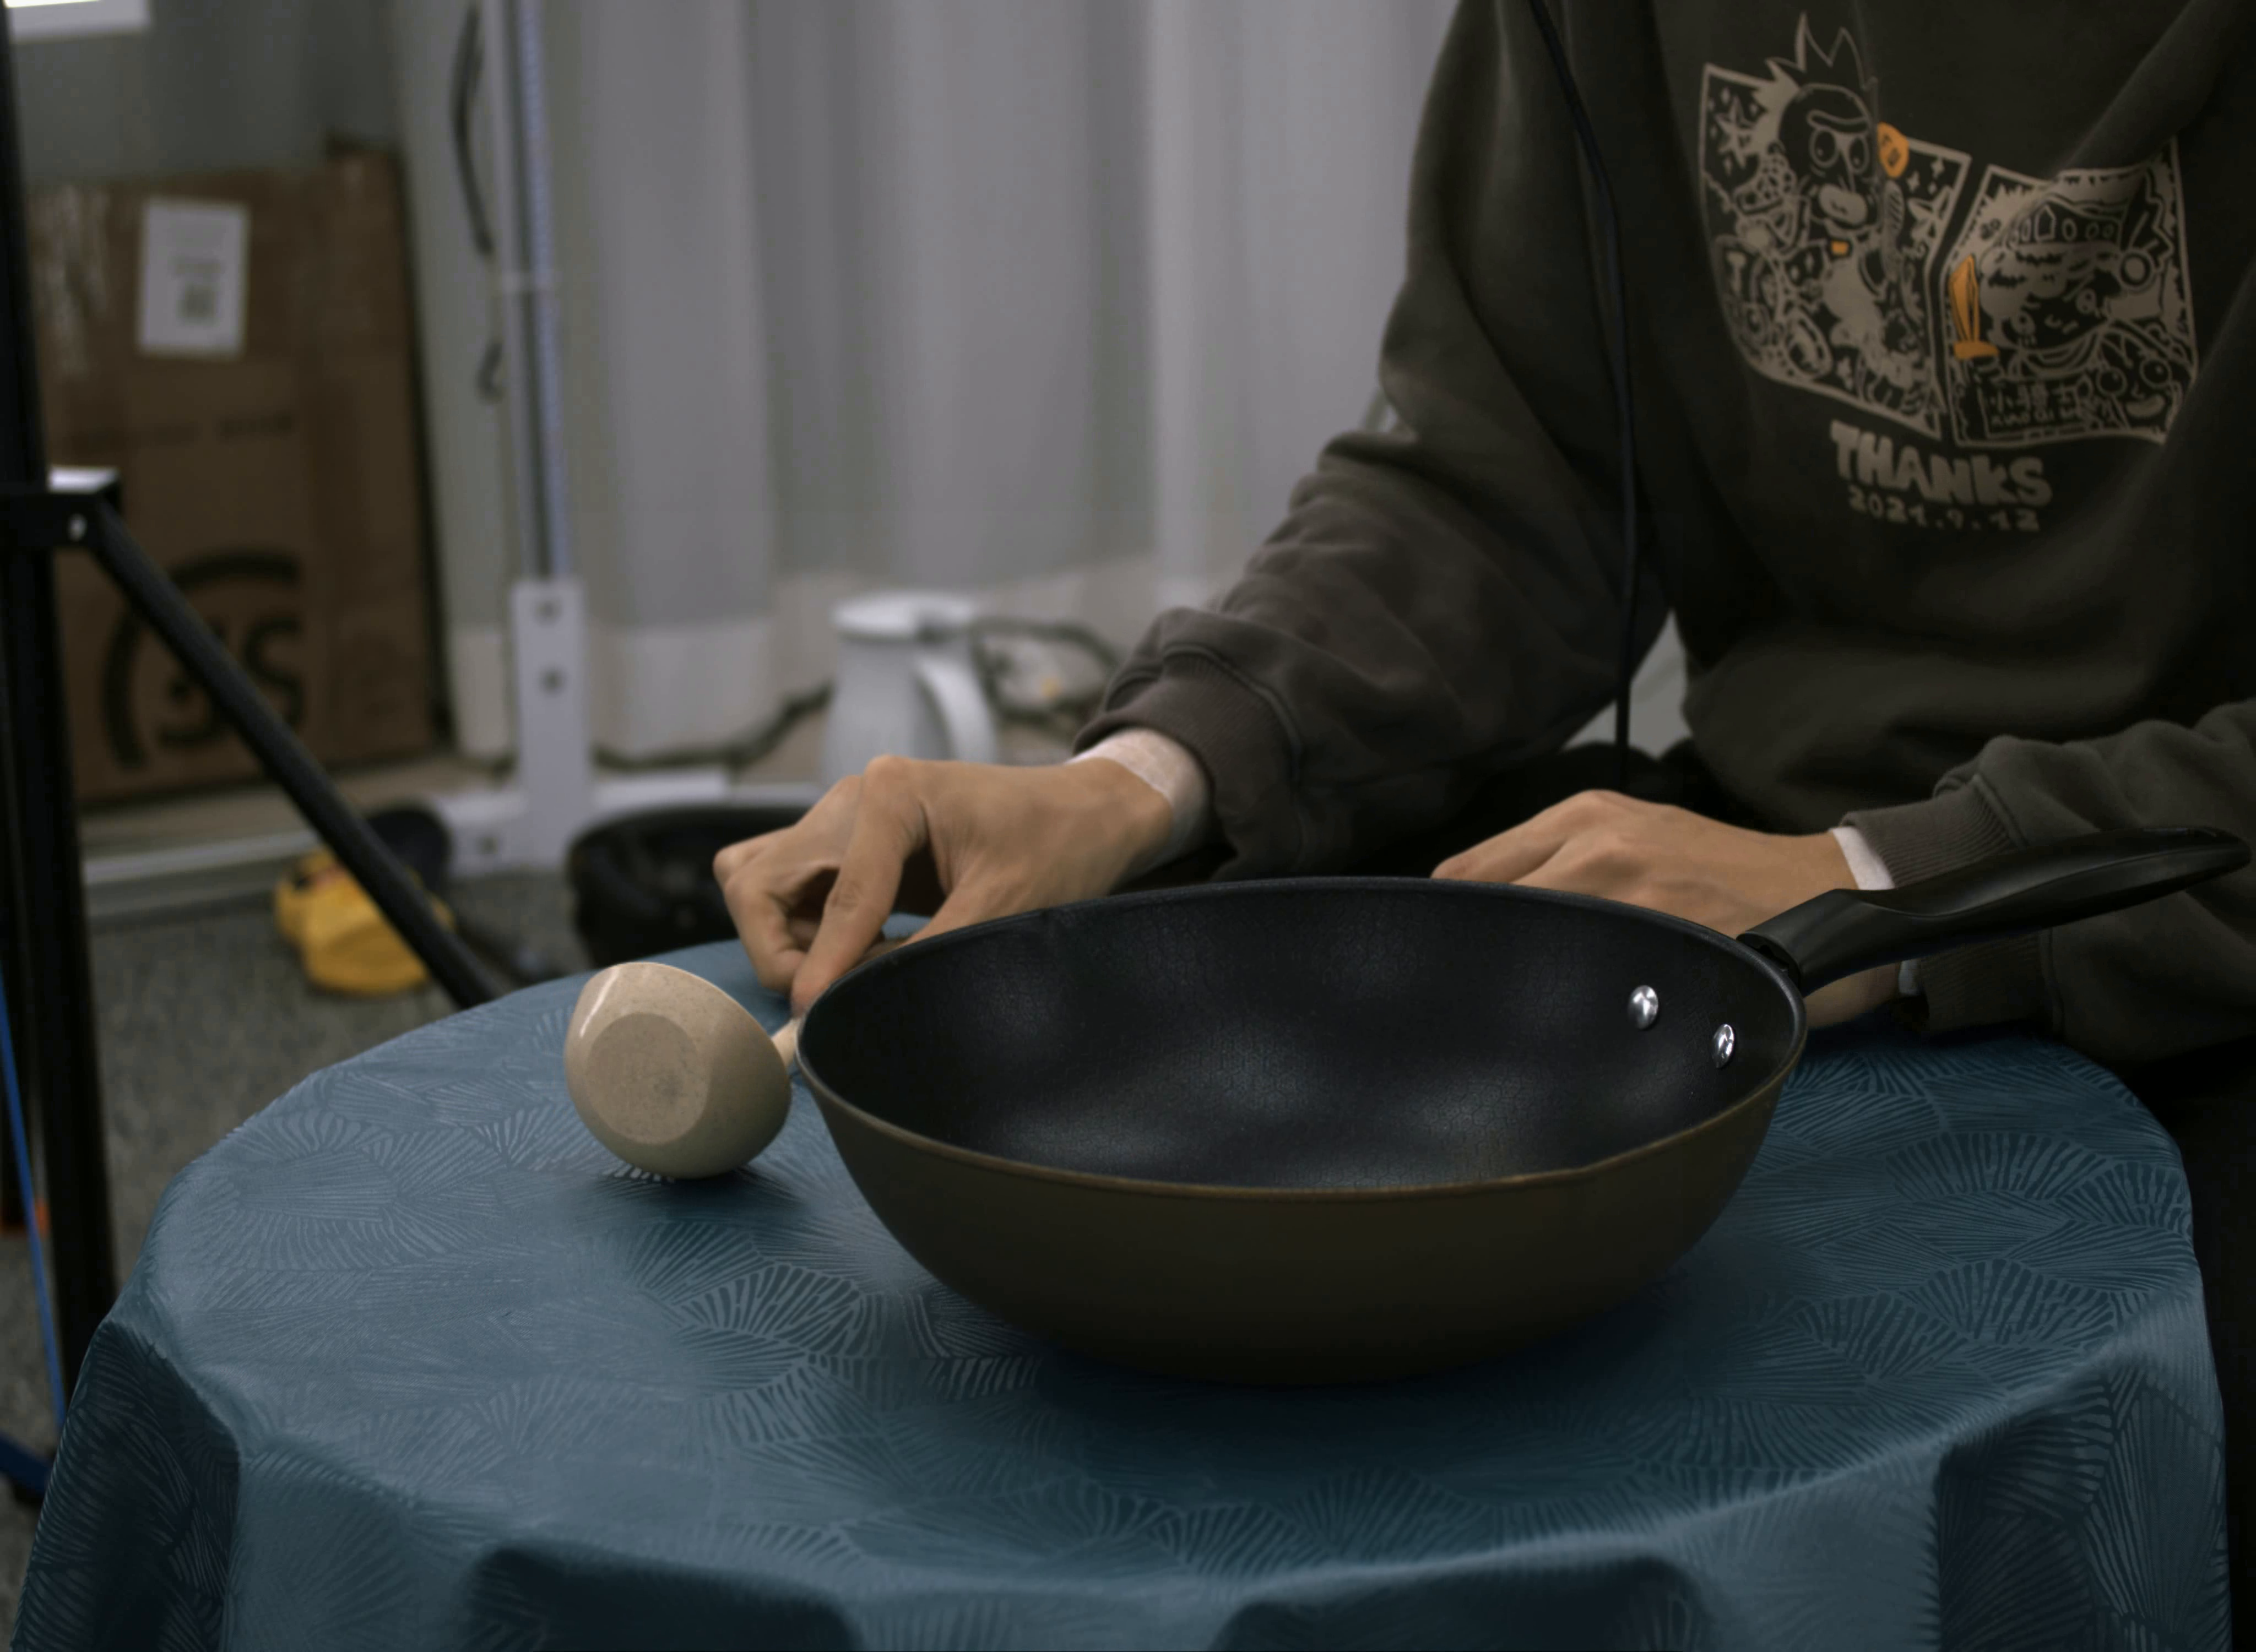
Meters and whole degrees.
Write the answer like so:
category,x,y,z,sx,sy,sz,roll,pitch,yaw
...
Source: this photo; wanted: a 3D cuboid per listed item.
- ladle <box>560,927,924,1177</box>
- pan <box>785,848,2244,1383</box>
category,x,y,z,sx,sy,sz,roll,pitch,yaw
ladle,-0.106,0.041,1.677,0.073,0.073,0.252,13,21,14
pan,0.126,0.075,1.505,0.453,0.087,0.294,-9,17,-25
